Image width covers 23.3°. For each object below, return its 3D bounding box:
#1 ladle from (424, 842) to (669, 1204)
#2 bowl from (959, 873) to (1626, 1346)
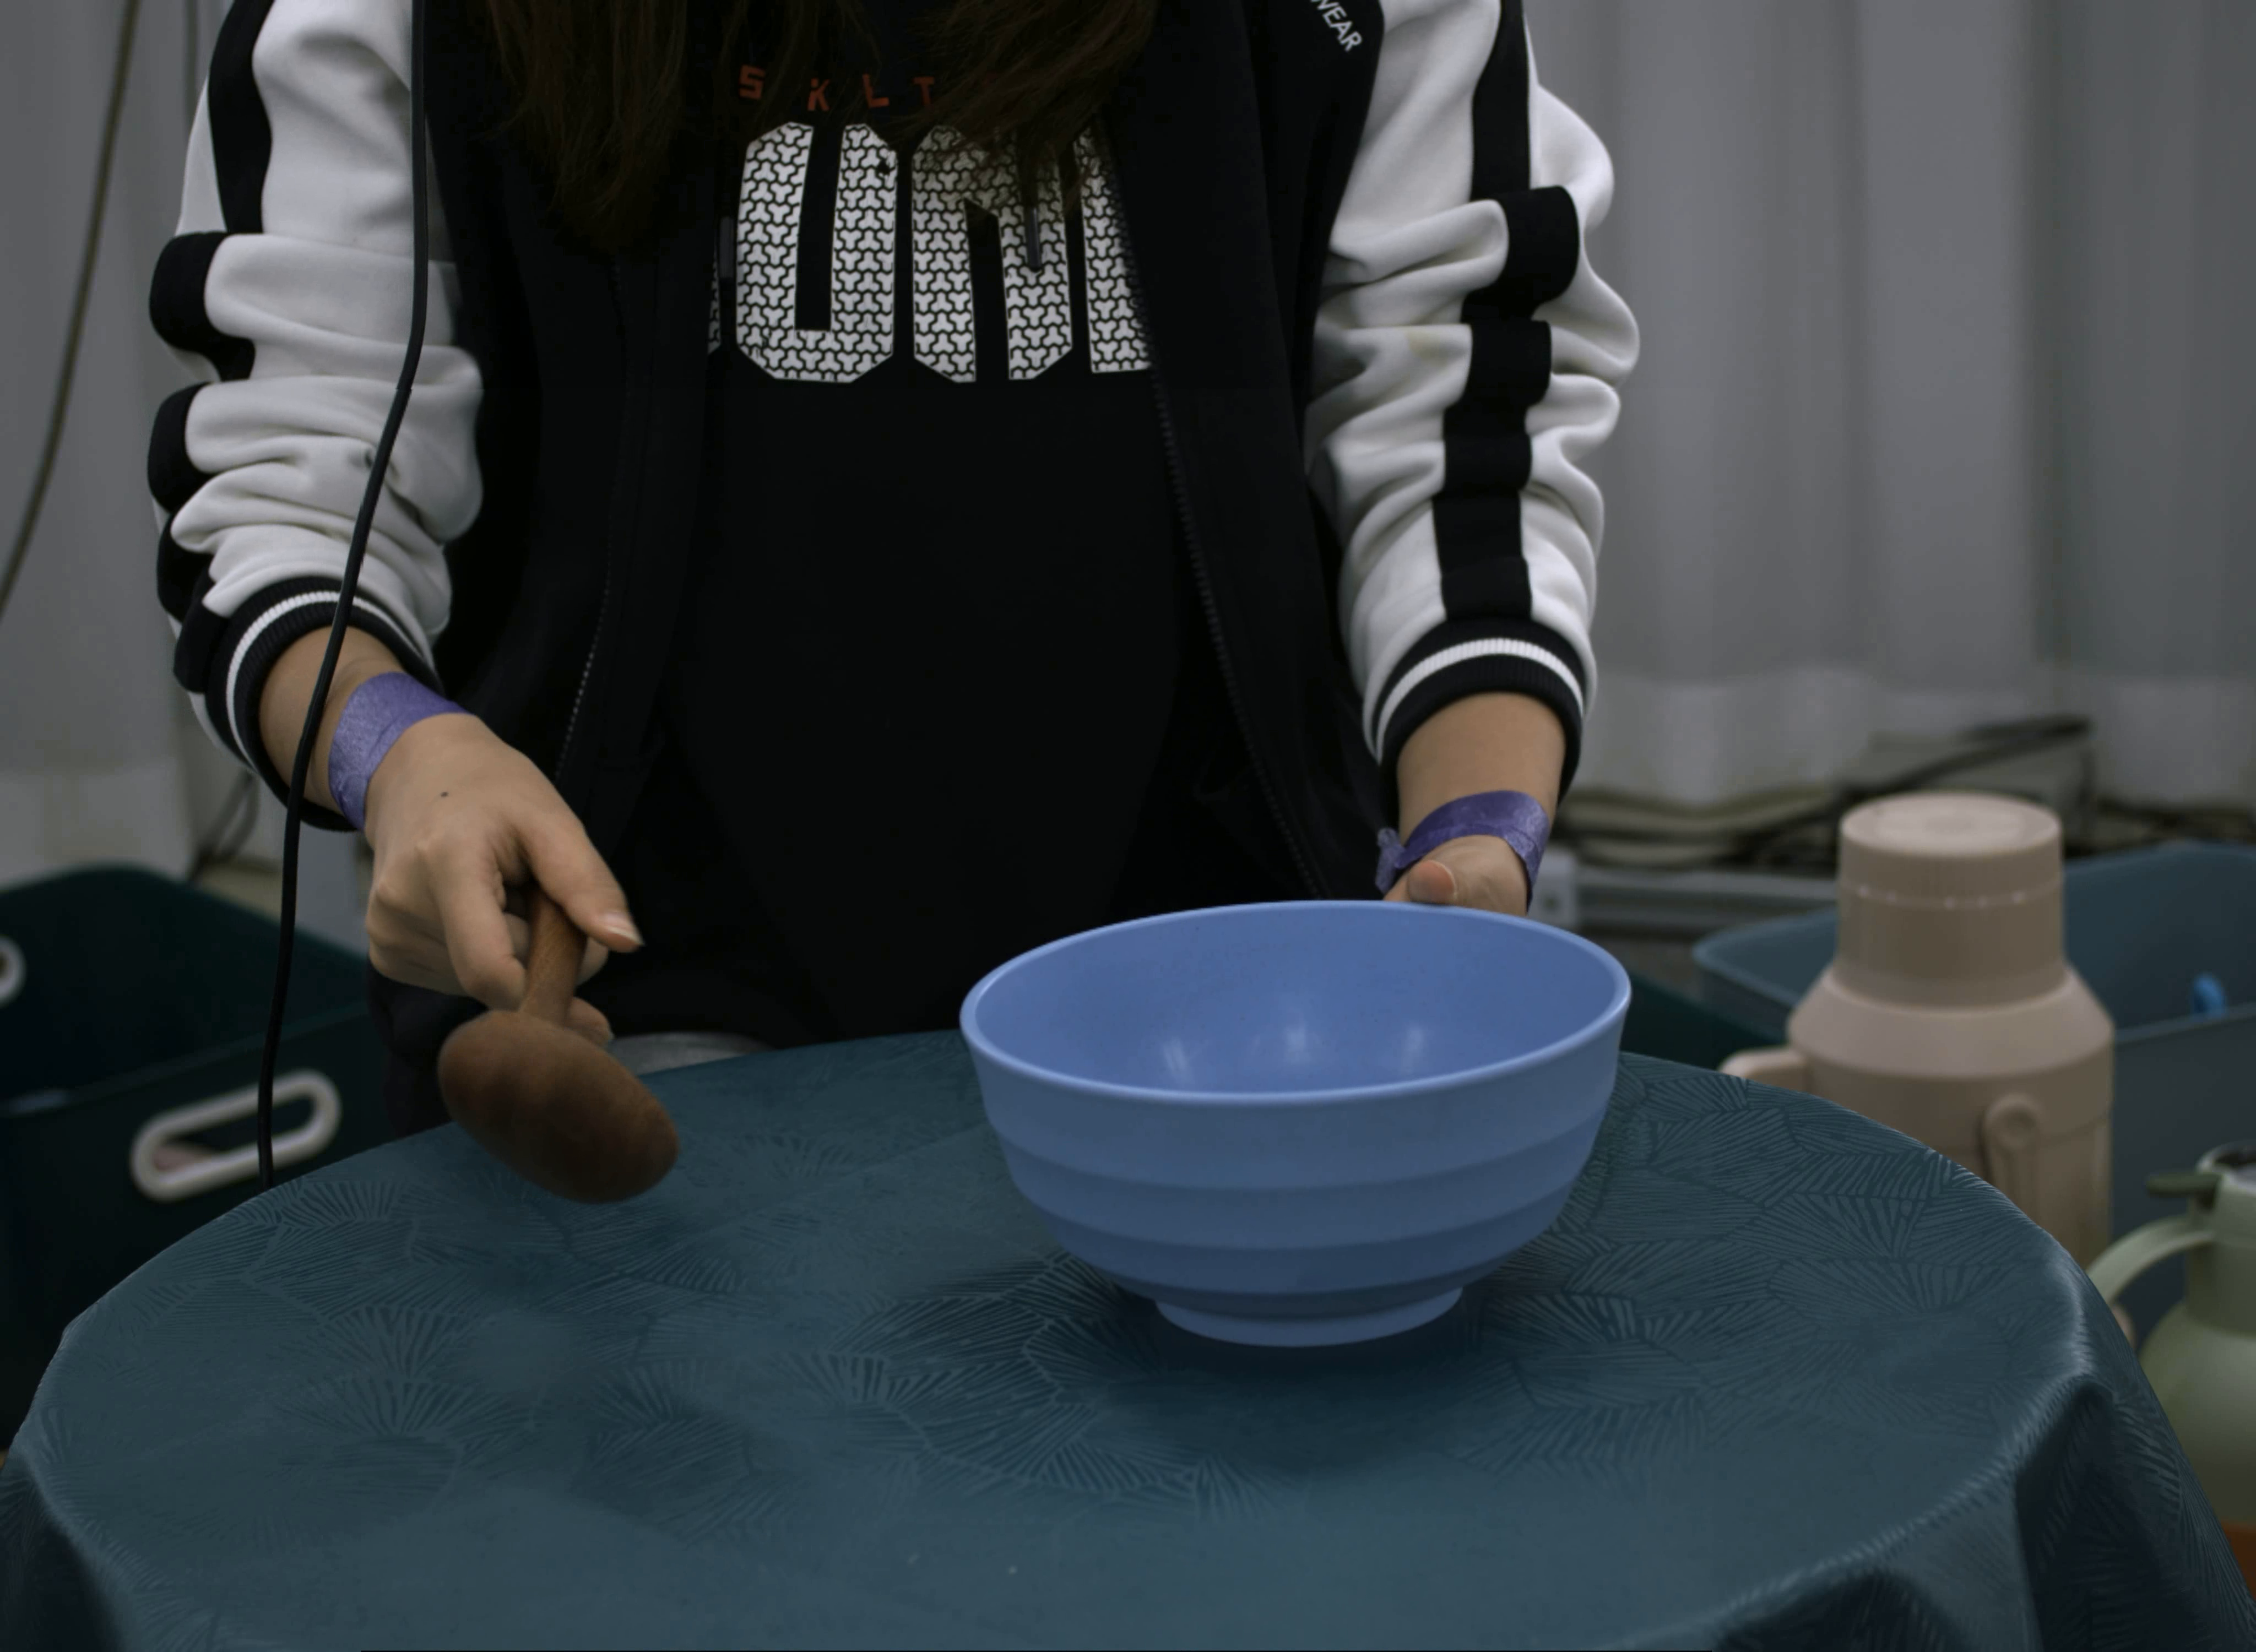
[{"bbox_3d":[-0.170,0.043,1.639,0.065,0.076,0.263,-44,17,13],"label":"ladle"},{"bbox_3d":[0.053,0.091,1.611,0.196,0.095,0.198,-7,18,2],"label":"bowl"}]
